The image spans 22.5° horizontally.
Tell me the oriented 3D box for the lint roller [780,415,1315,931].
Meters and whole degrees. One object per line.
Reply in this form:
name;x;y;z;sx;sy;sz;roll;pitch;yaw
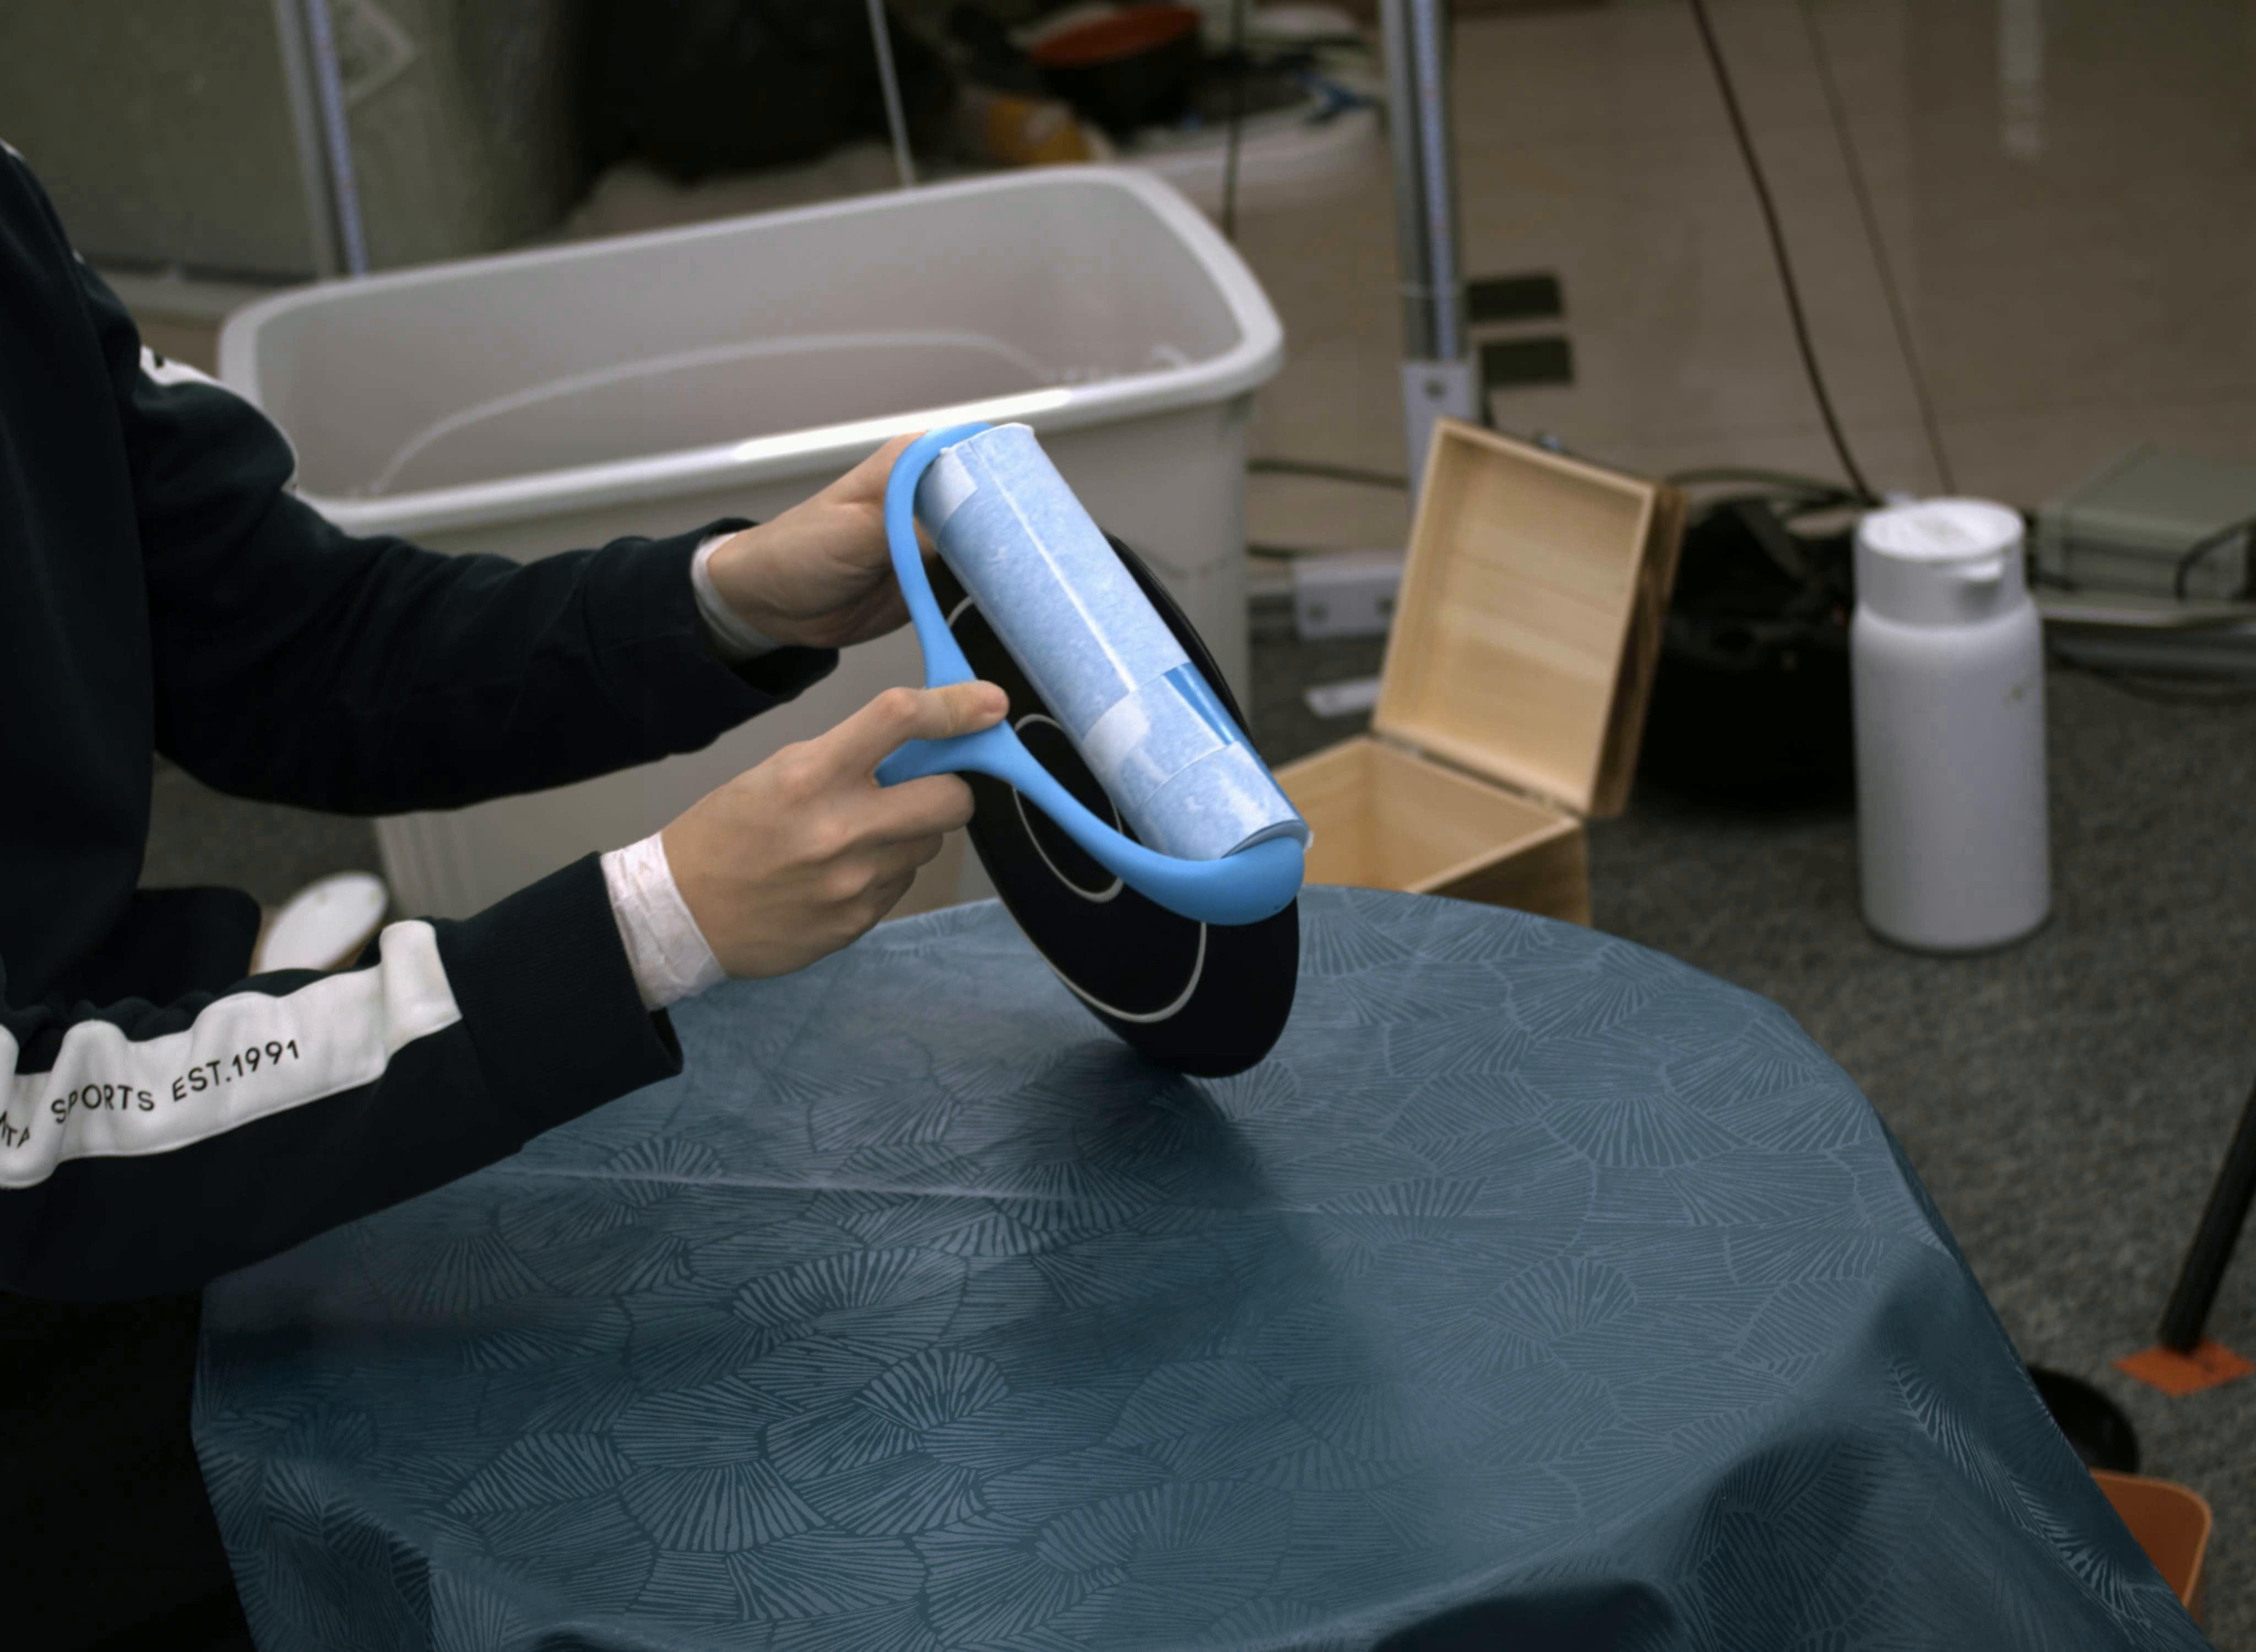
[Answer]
lint roller;-0.055;-0.026;2.059;0.180;0.068;0.227;-37;71;-3

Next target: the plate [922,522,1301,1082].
plate;-0.016;-0.011;2.180;0.023;0.248;0.242;-26;31;-28
